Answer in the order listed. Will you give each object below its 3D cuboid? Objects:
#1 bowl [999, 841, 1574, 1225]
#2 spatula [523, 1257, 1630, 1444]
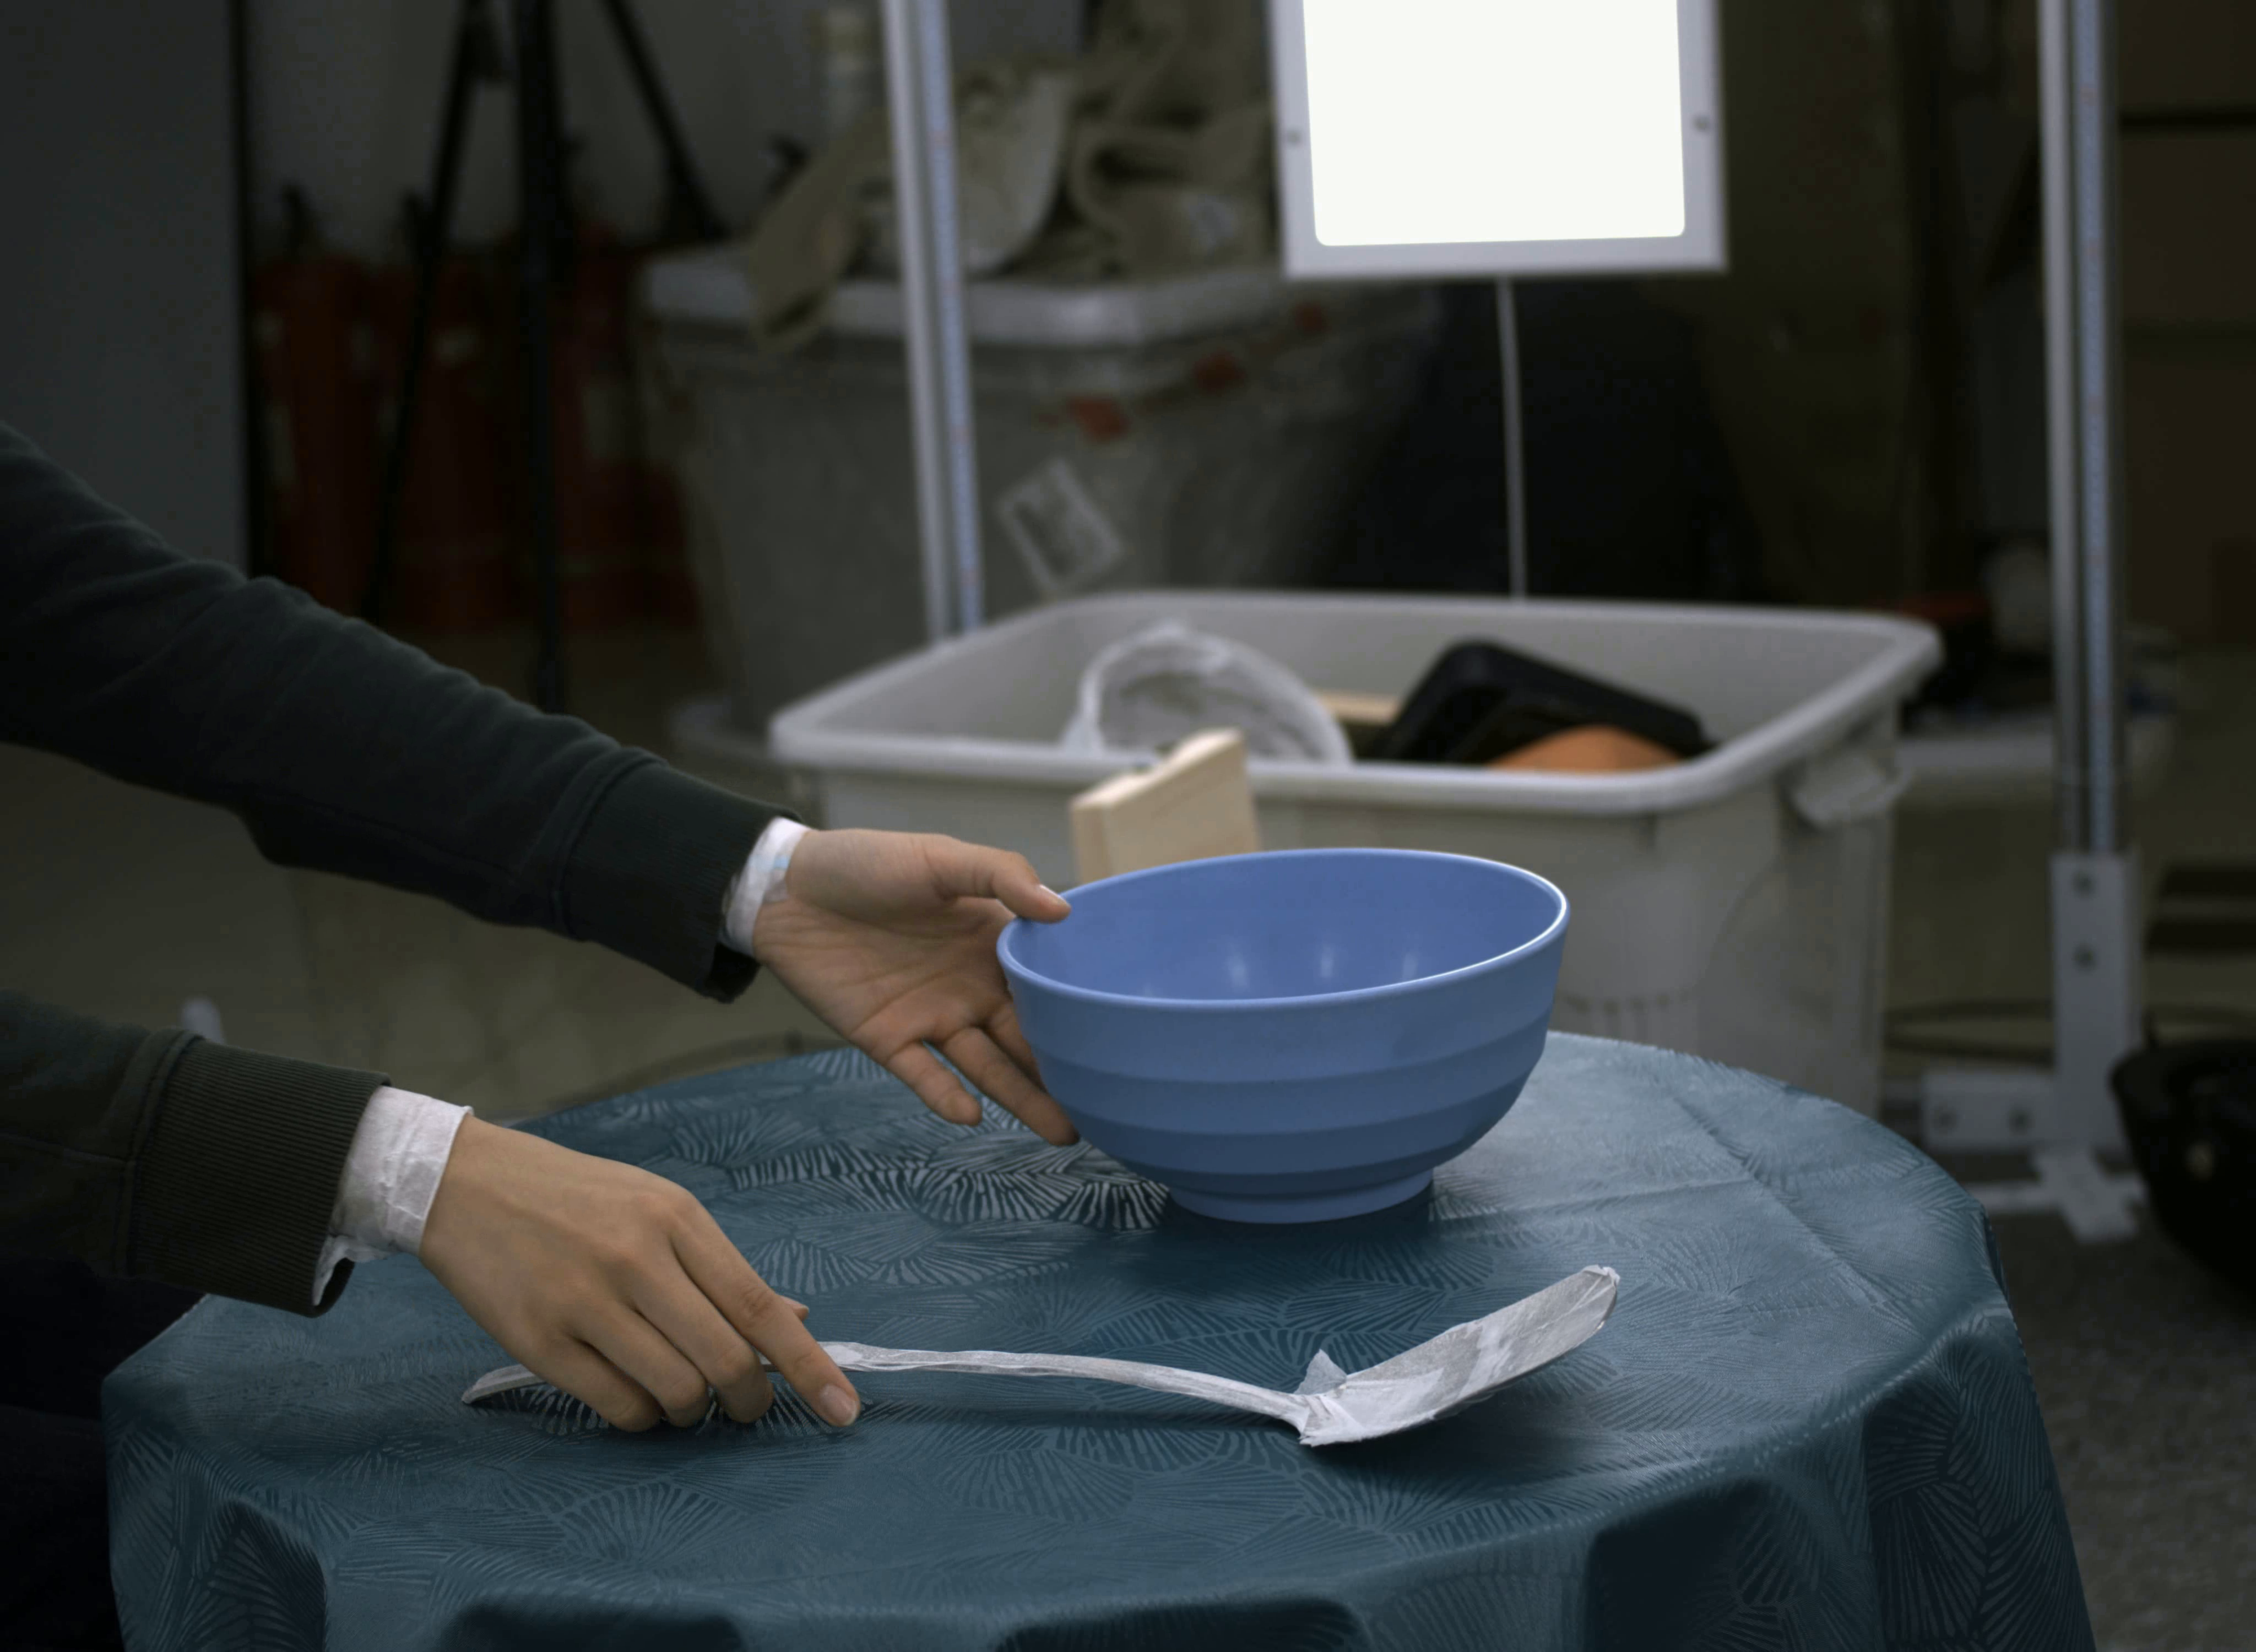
[{"bbox_3d":[0.057,0.077,1.880,0.196,0.096,0.196,-5,15,0],"label":"bowl"},{"bbox_3d":[-0.026,0.160,1.688,0.369,0.045,0.097,0,16,20],"label":"spatula"}]
